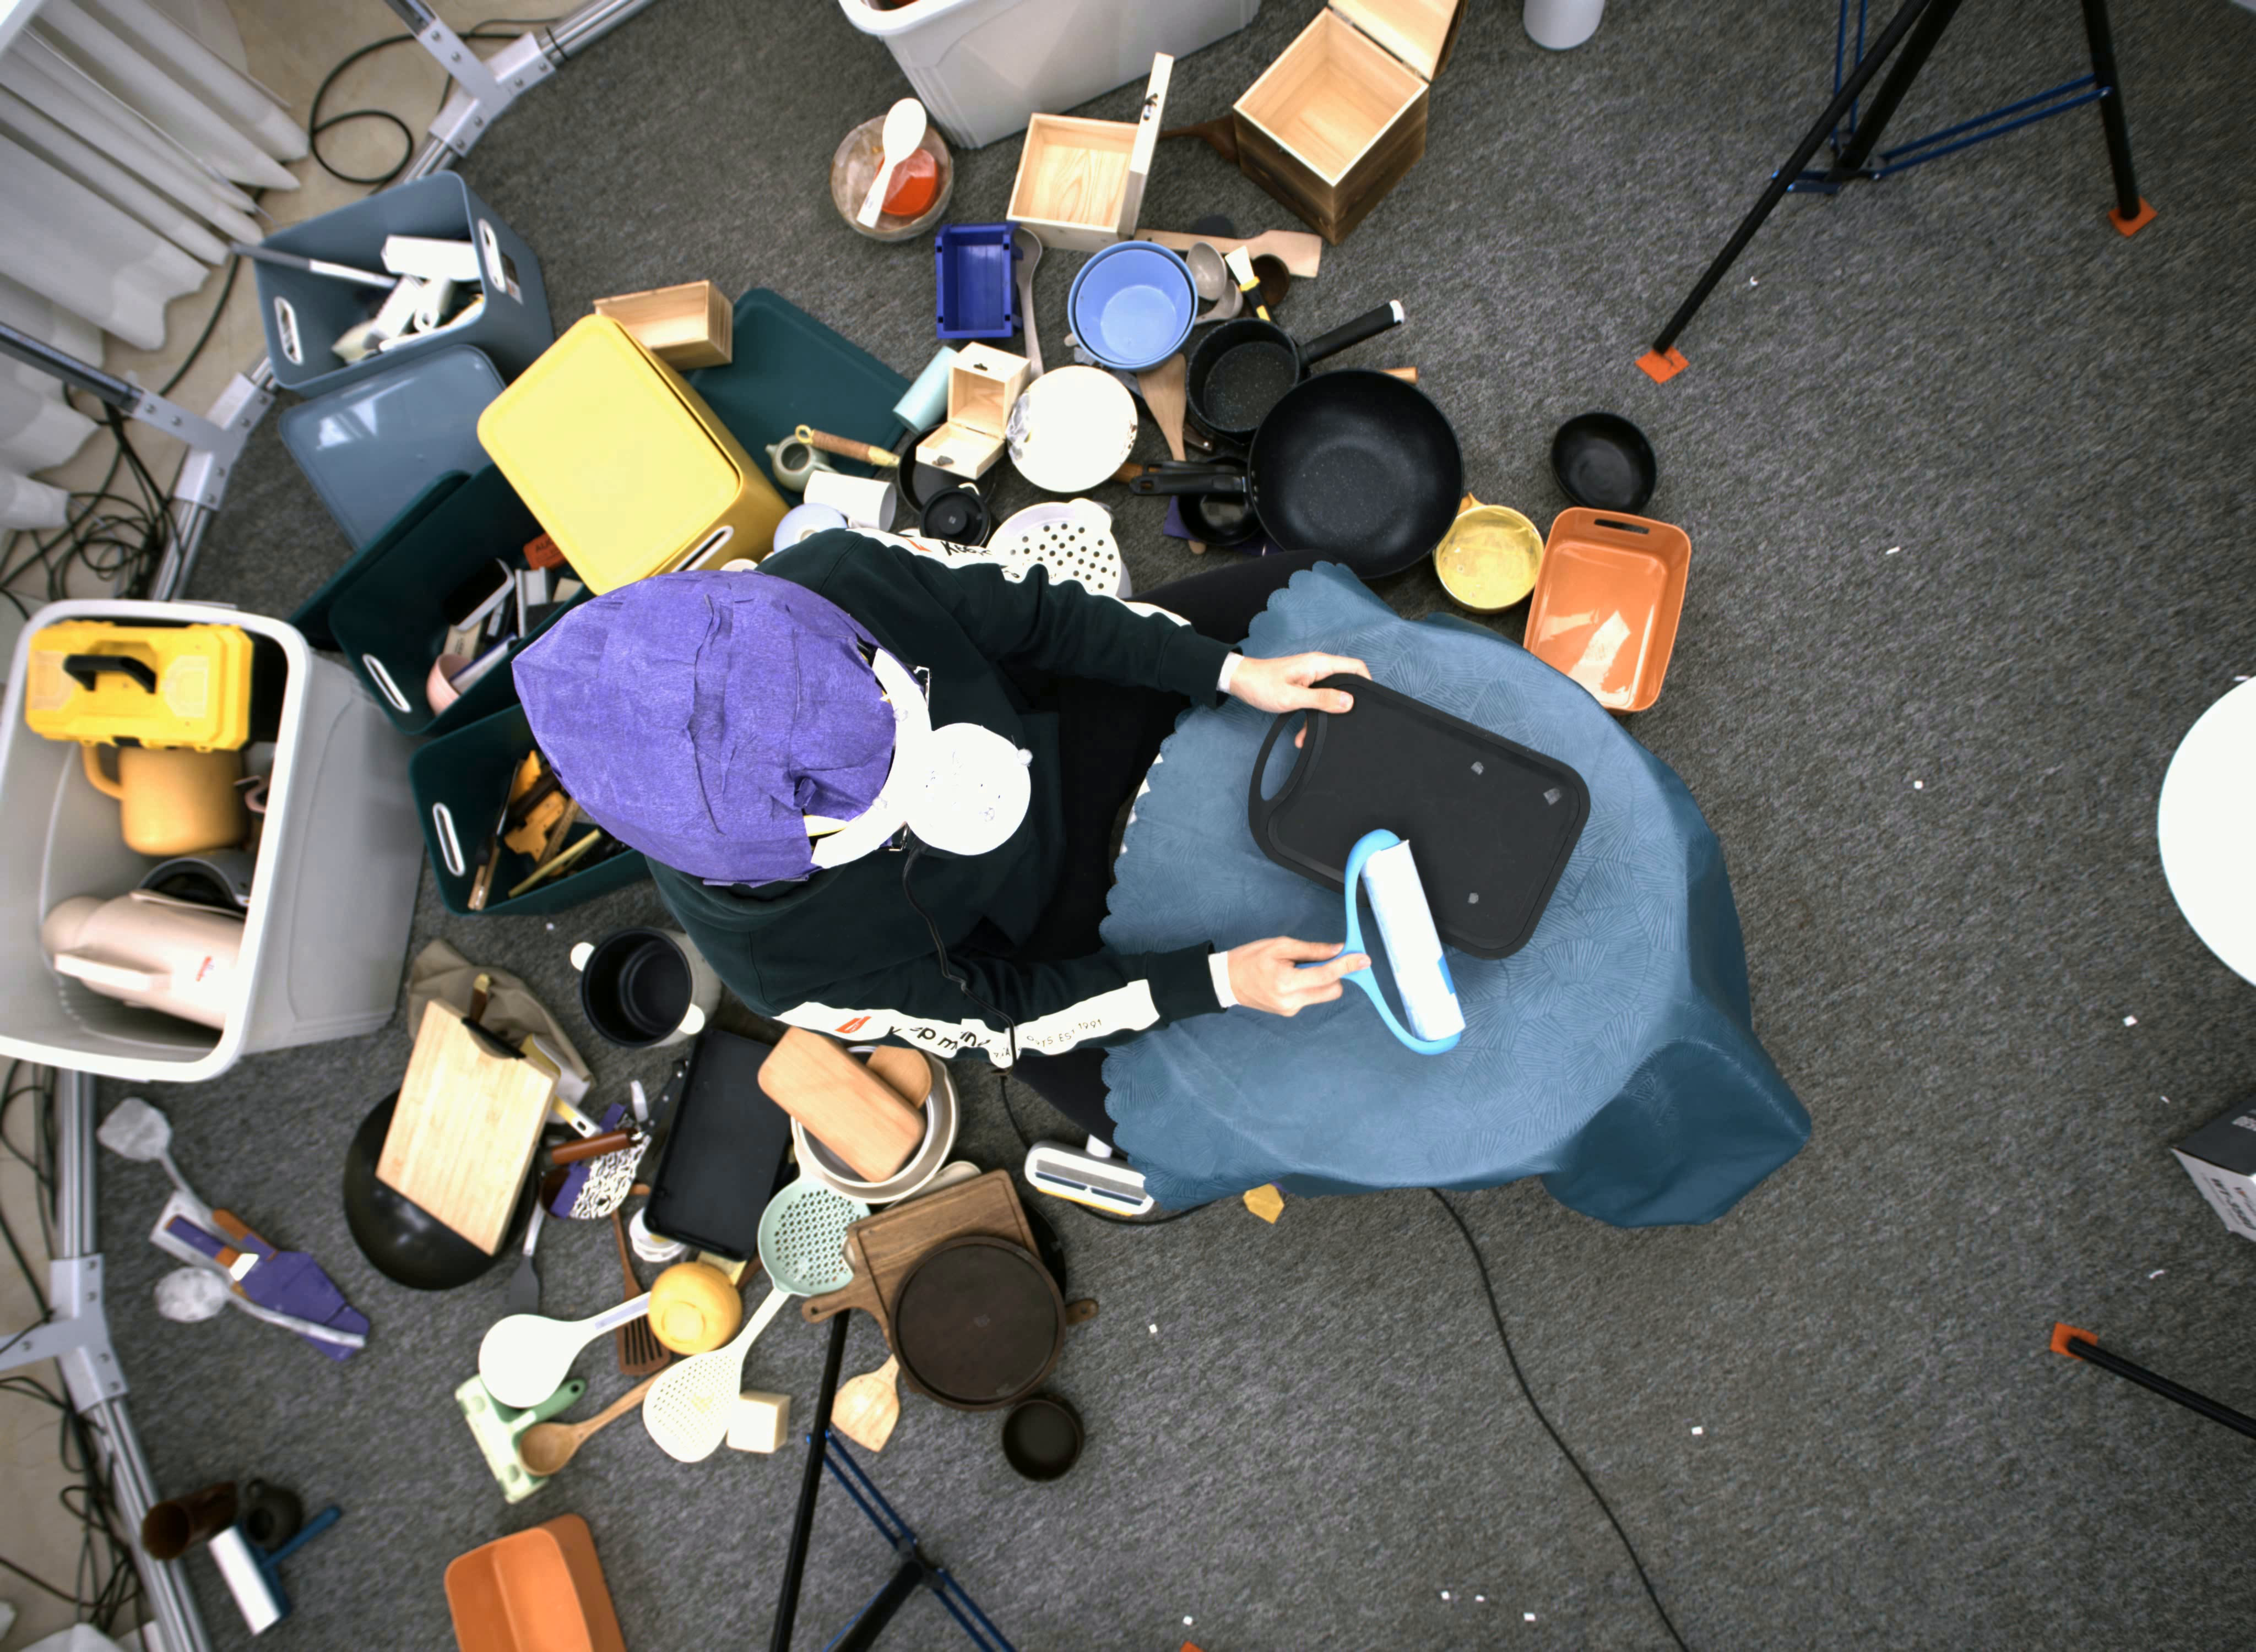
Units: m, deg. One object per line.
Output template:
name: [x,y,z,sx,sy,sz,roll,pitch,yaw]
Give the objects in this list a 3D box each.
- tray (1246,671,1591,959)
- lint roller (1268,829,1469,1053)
tray: [0.277,-0.016,1.372,0.325,0.010,0.213,26,103,14]
lint roller: [0.225,0.132,1.367,0.181,0.067,0.229,-21,95,11]
